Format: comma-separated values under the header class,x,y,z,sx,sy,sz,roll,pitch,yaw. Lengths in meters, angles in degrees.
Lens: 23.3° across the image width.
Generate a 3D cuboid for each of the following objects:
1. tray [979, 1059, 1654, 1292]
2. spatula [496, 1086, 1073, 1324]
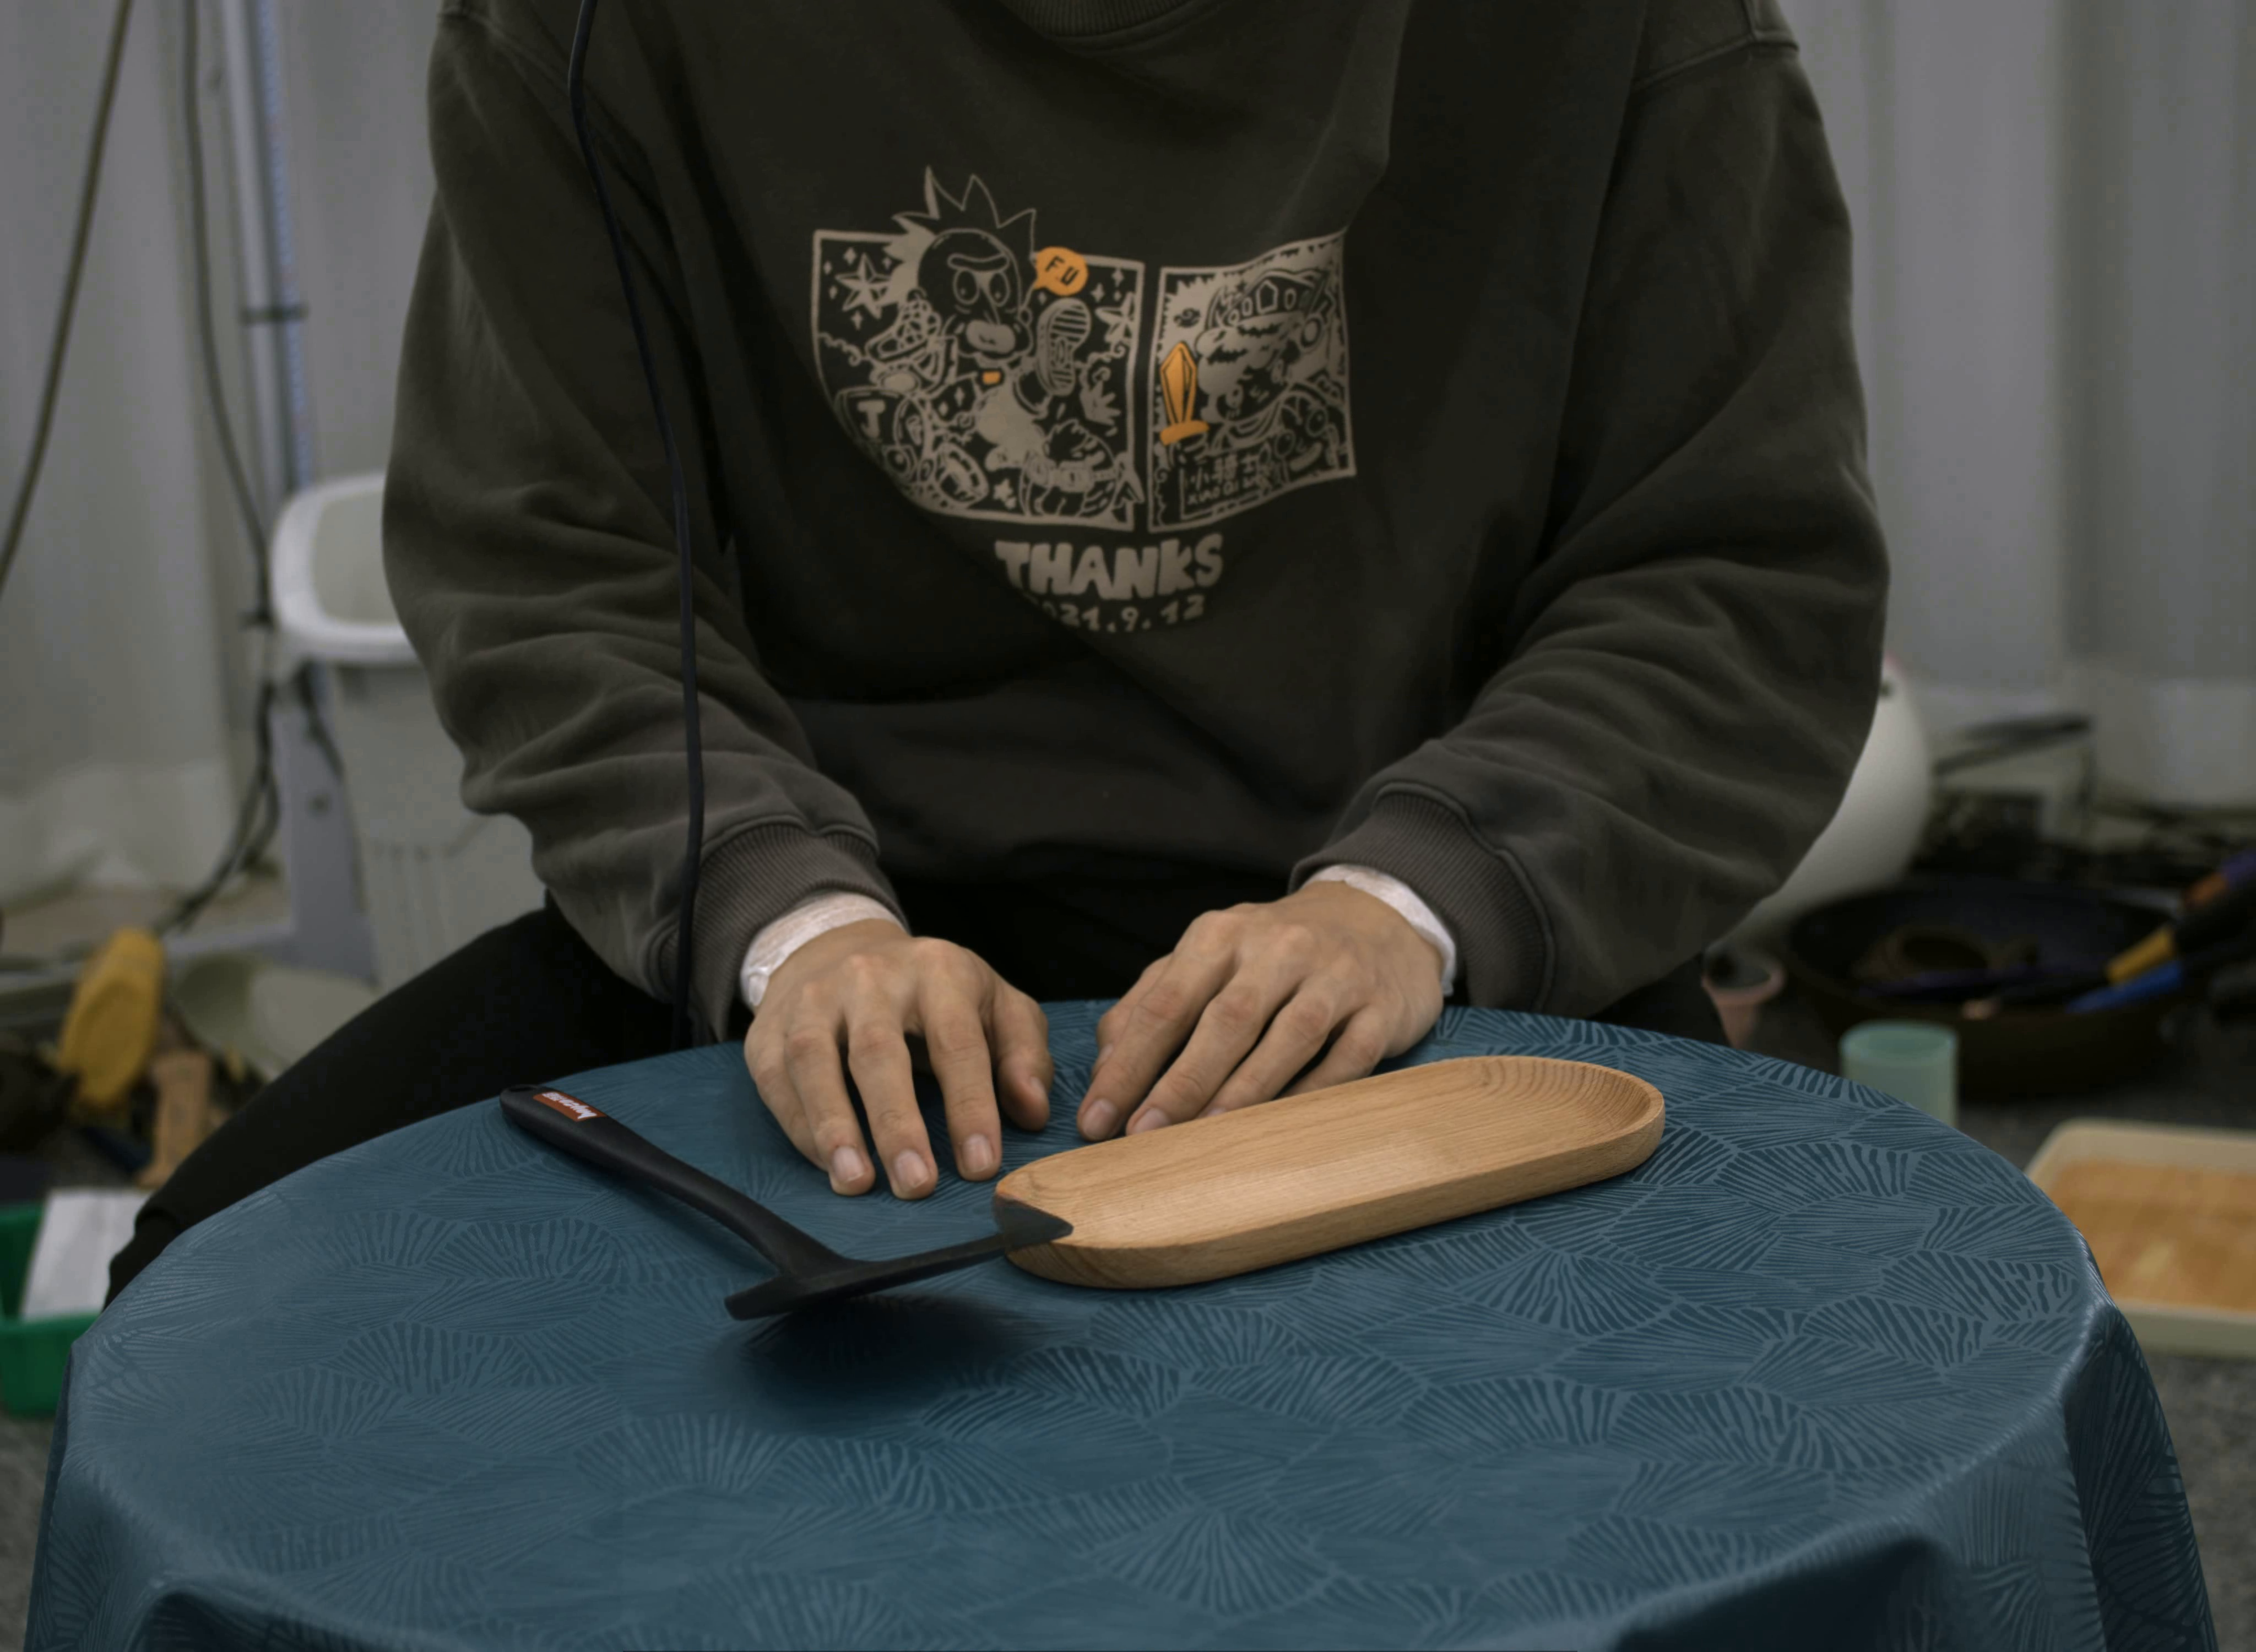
class,x,y,z,sx,sy,sz,roll,pitch,yaw
tray,0.061,0.108,1.704,0.230,0.020,0.102,-13,17,-29
spatula,-0.130,0.110,1.696,0.099,0.040,0.328,-9,16,-27
